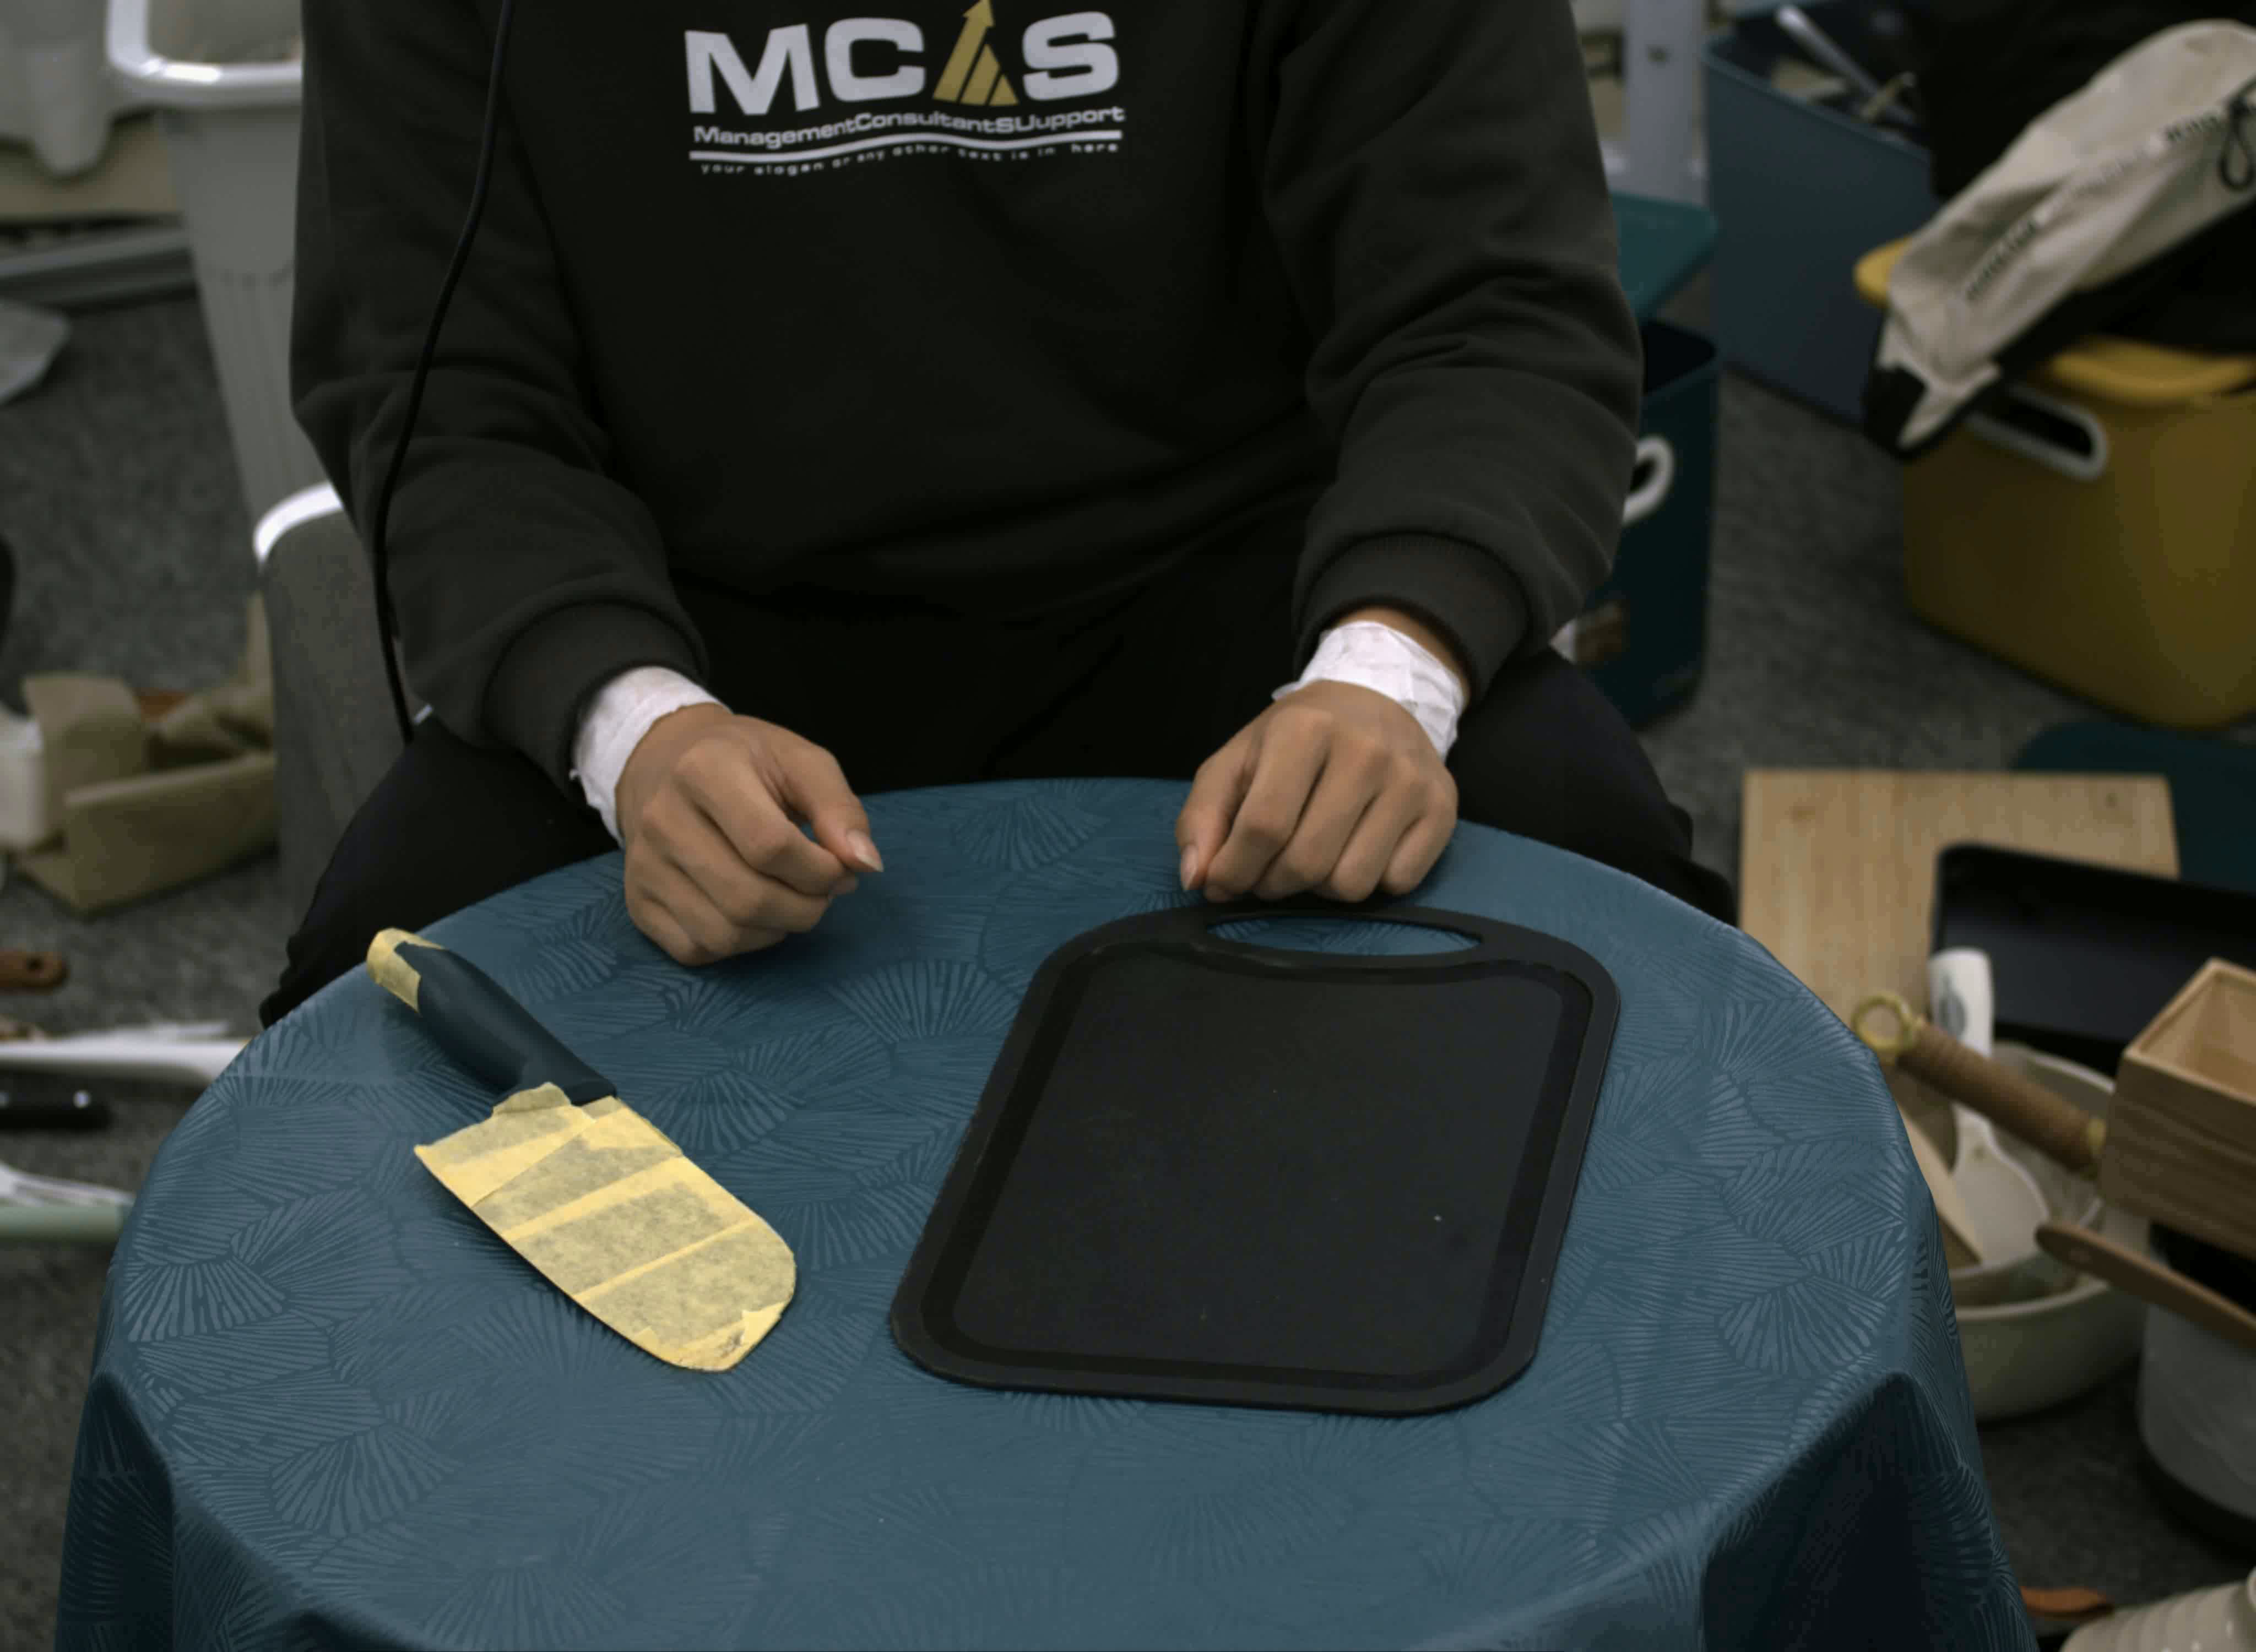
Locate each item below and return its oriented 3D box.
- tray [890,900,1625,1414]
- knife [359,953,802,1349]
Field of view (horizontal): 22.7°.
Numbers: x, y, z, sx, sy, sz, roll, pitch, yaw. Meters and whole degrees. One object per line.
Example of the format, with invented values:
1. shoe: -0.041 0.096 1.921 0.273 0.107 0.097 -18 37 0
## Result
1. tray: 0.050 0.102 1.887 0.209 0.009 0.331 3 28 12
2. knife: -0.197 0.110 1.887 0.081 0.027 0.290 -17 31 -28
